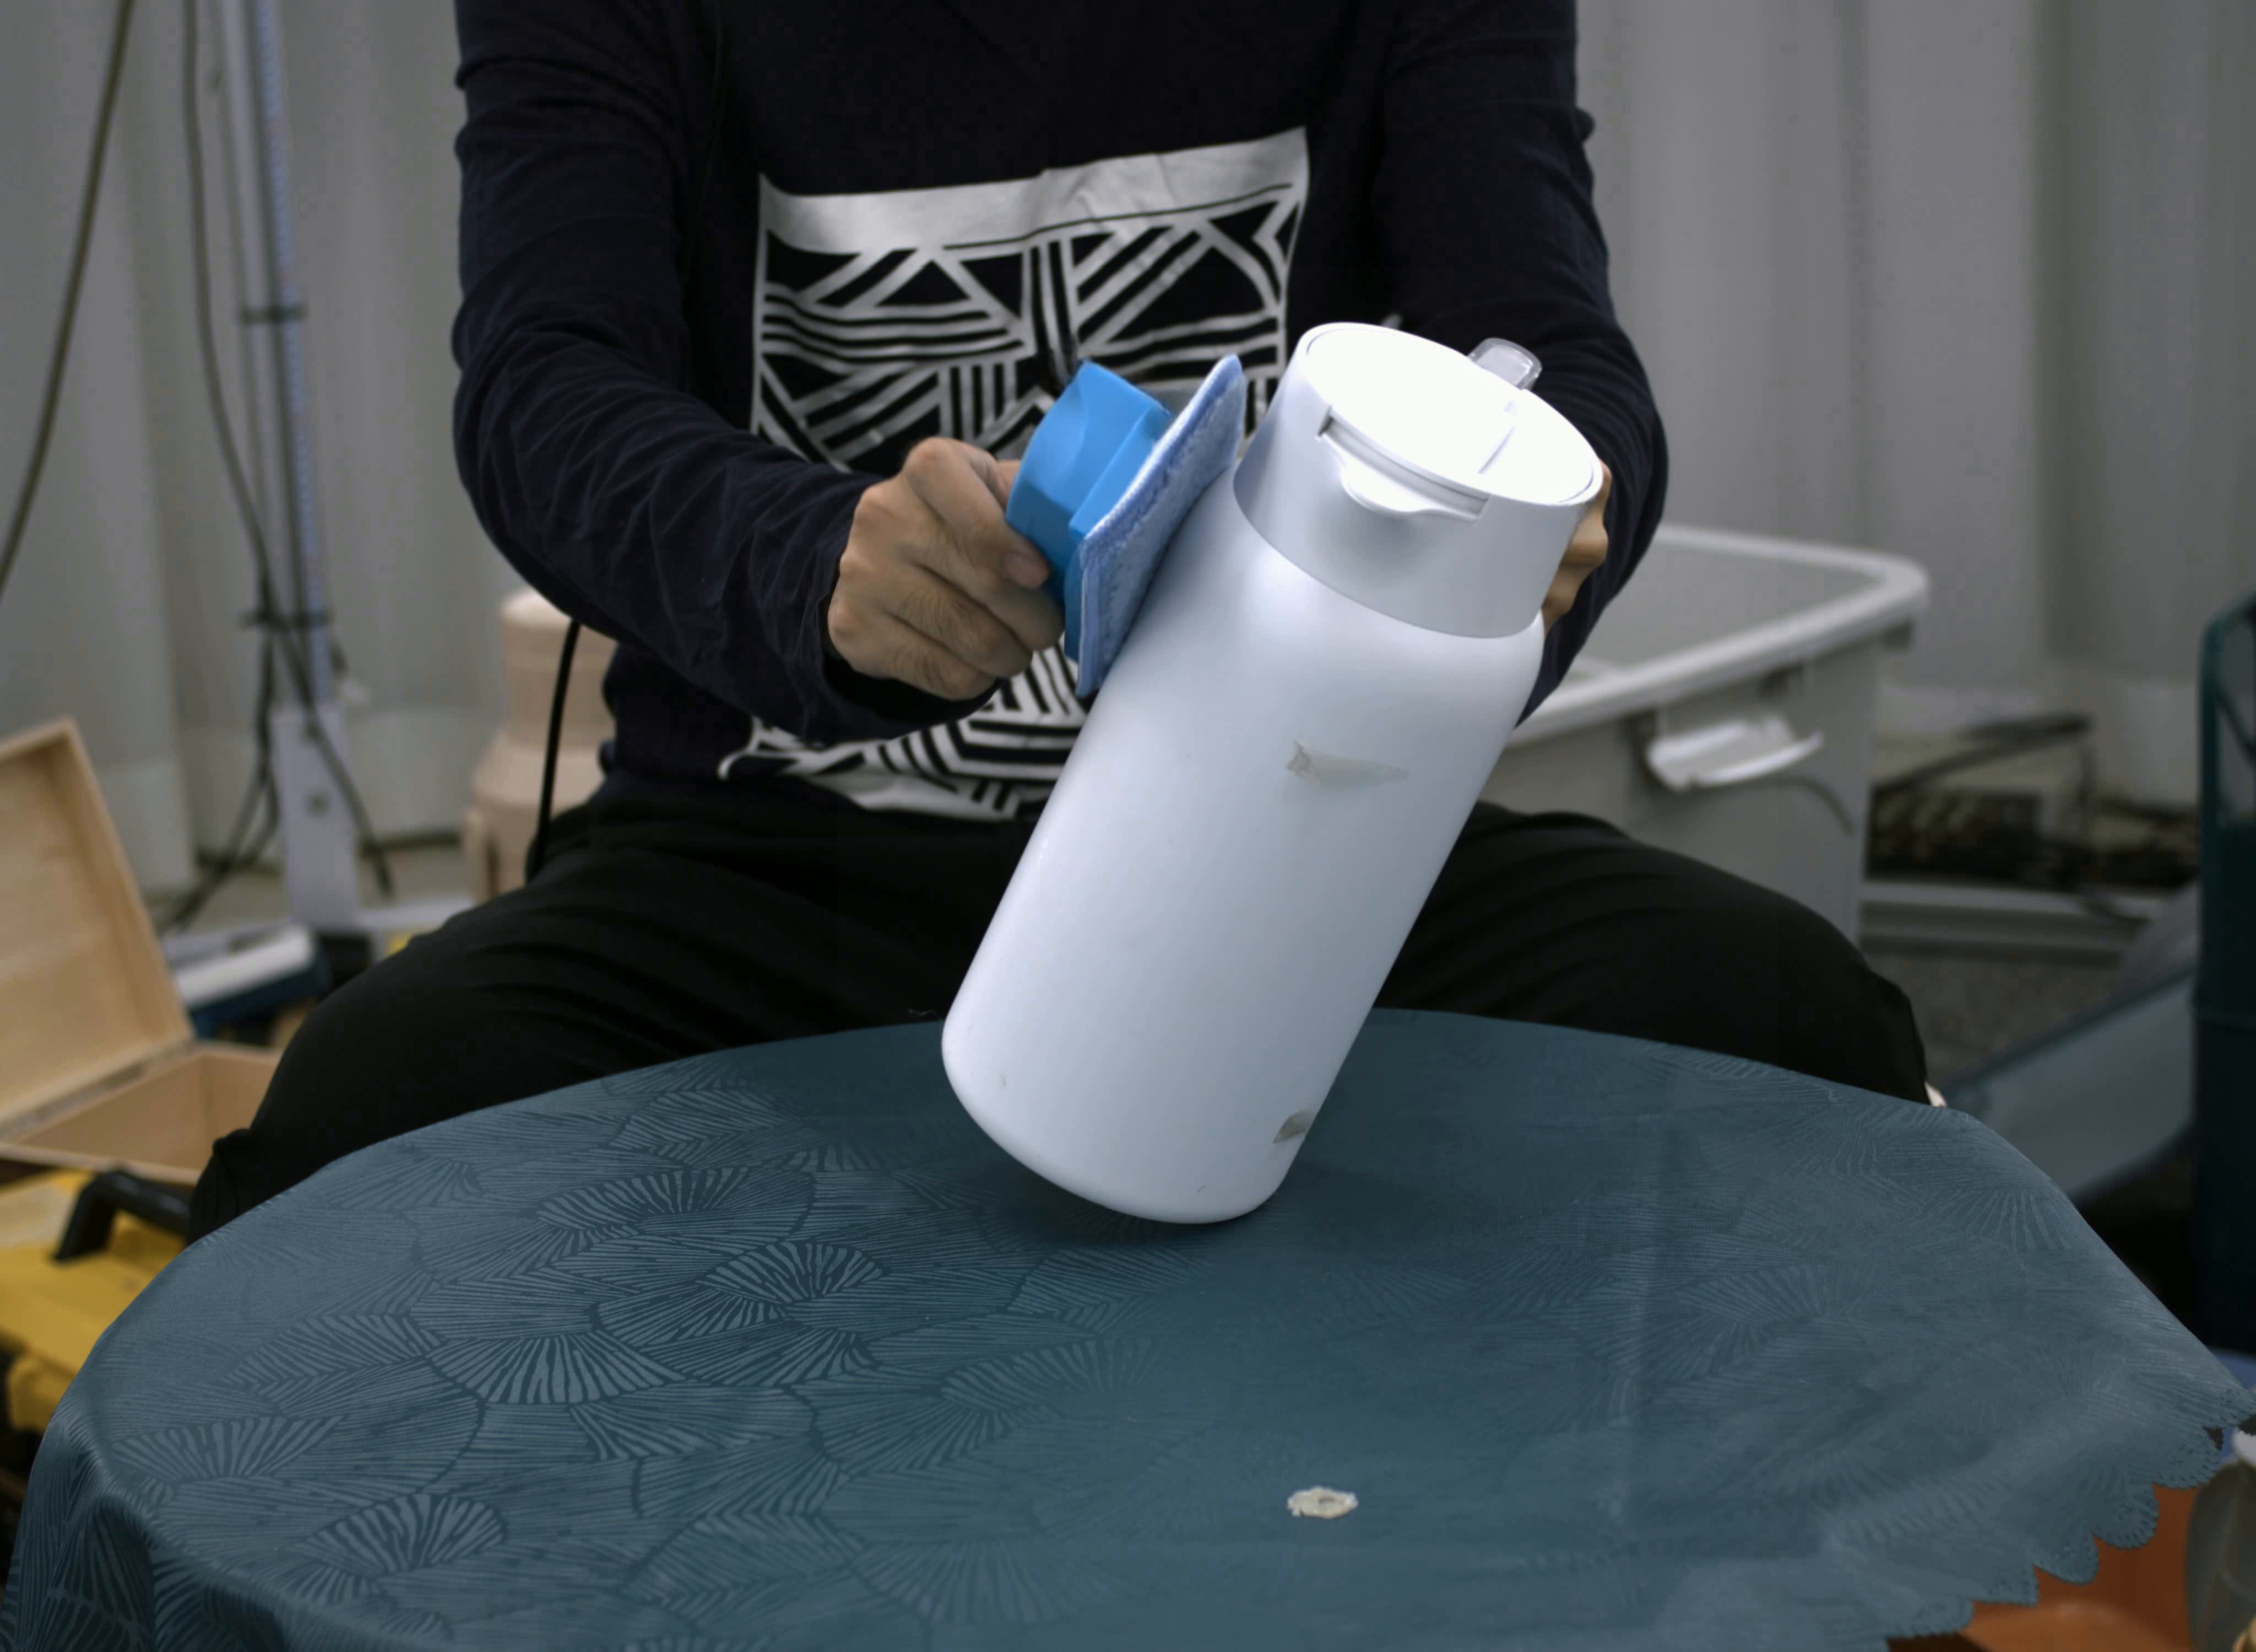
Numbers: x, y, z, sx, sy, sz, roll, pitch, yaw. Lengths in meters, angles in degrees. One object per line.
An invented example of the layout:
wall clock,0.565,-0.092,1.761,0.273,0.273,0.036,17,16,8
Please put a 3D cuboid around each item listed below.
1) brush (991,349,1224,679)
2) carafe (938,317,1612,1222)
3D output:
brush,-0.012,-0.099,1.639,0.056,0.084,0.143,34,-12,6
carafe,0.047,-0.022,1.670,0.124,0.267,0.174,27,25,8
